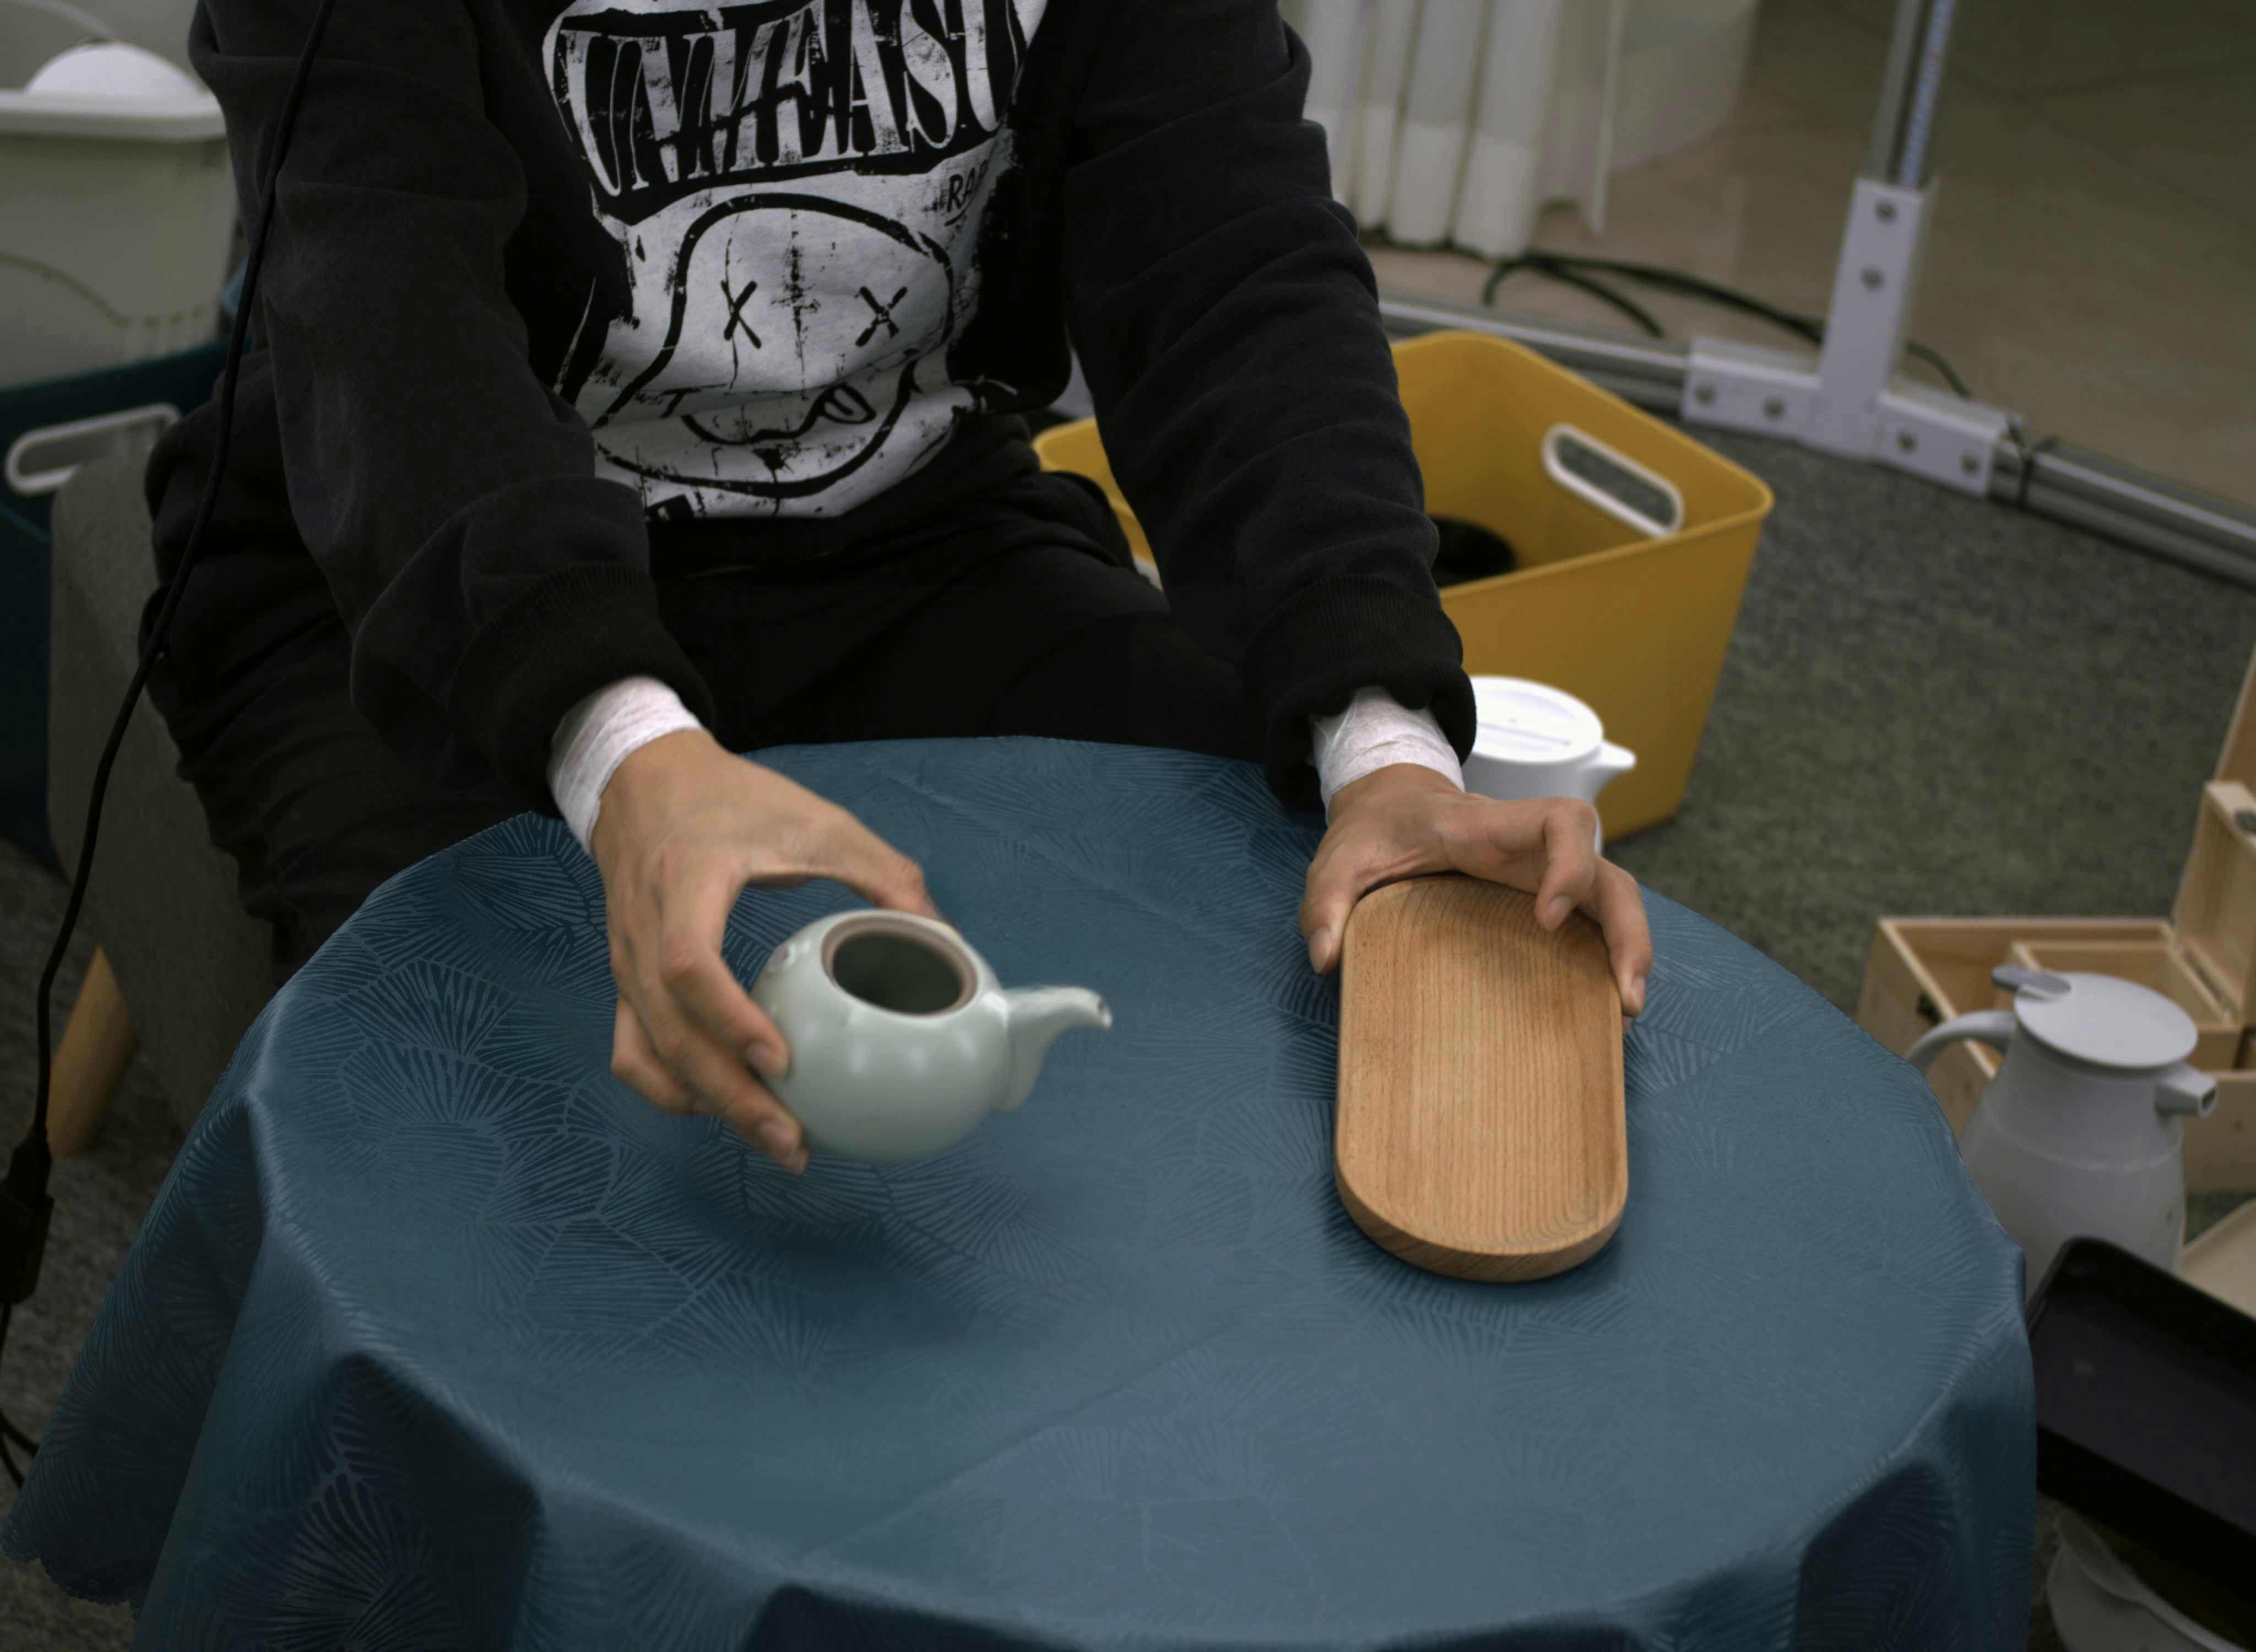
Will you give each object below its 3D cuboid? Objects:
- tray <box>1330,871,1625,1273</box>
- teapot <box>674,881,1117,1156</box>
[{"bbox_3d":[0.122,0.084,1.869,0.101,0.020,0.232,7,31,-2],"label":"tray"},{"bbox_3d":[-0.081,0.065,1.736,0.143,0.074,0.089,17,33,-6],"label":"teapot"}]
